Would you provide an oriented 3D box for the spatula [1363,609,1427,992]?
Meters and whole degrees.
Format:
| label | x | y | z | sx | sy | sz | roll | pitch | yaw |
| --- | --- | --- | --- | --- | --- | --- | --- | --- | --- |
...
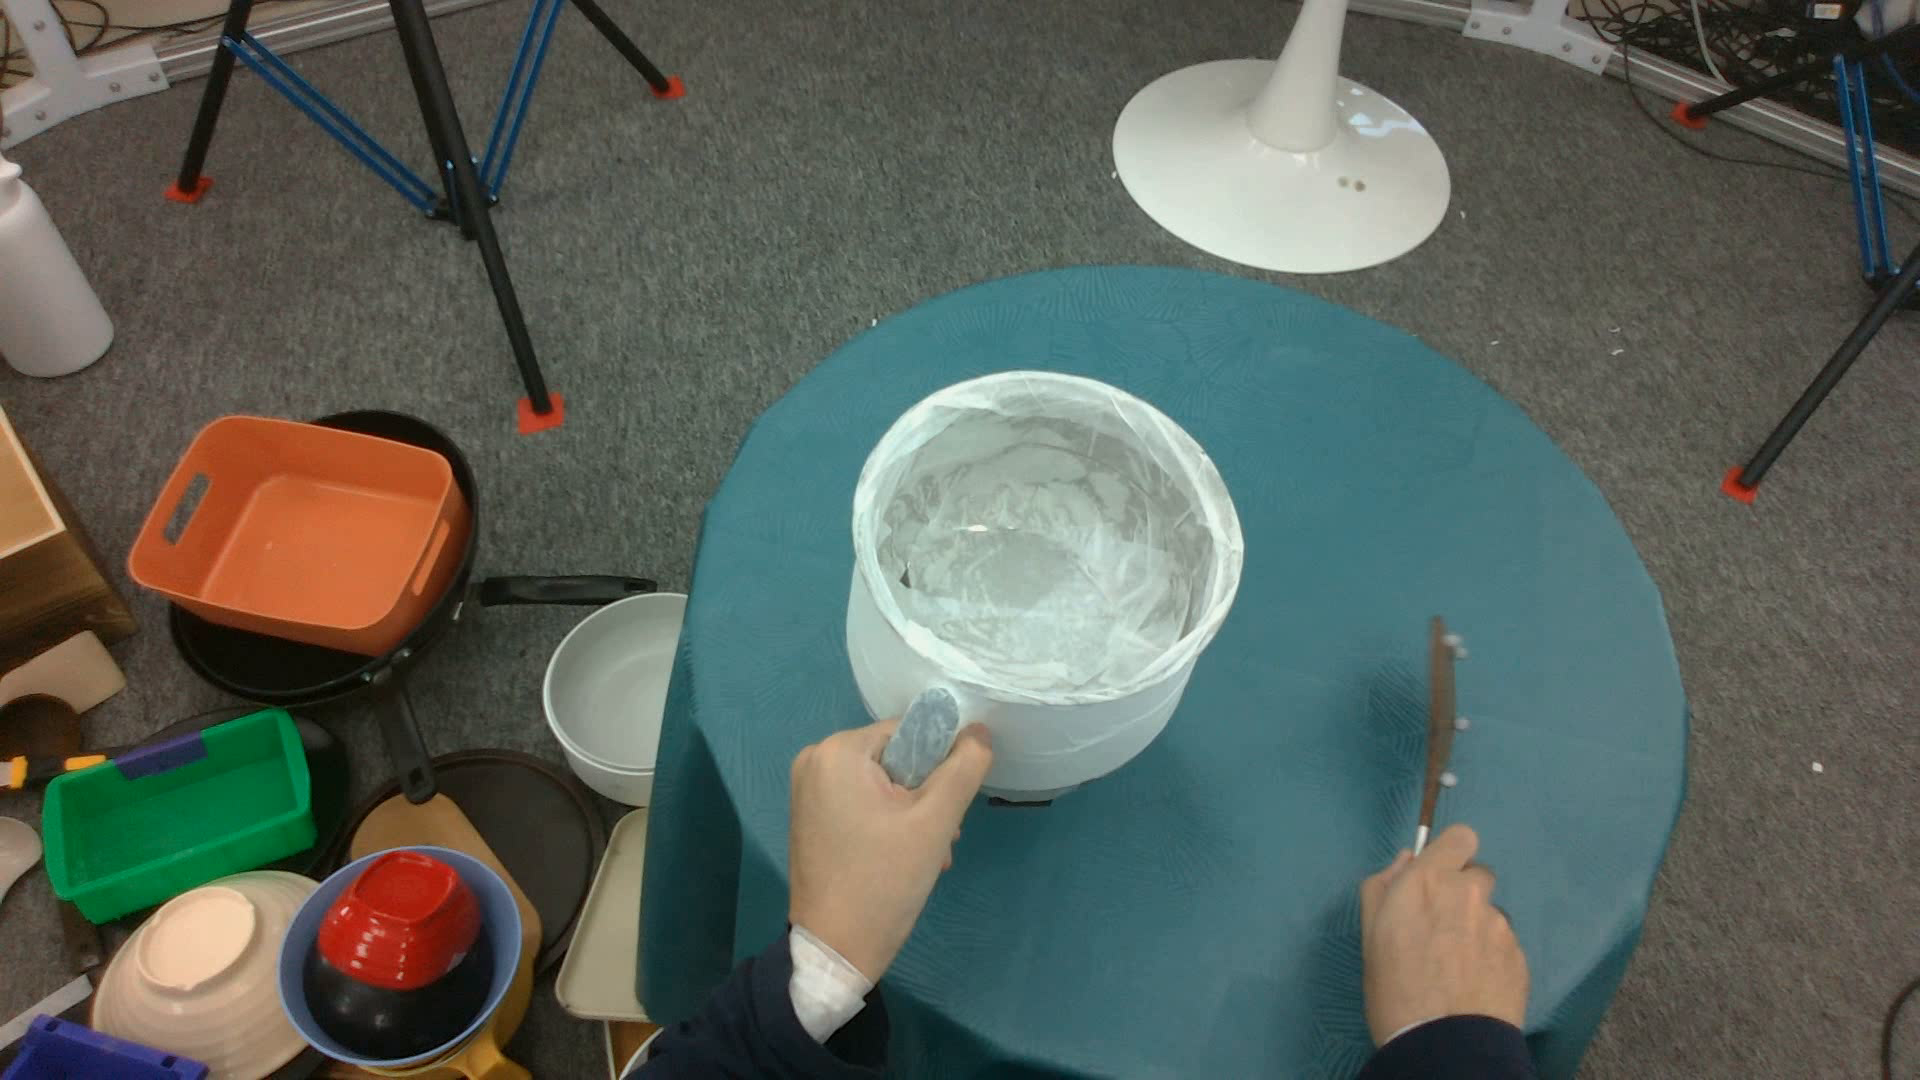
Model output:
| label | x | y | z | sx | sy | sz | roll | pitch | yaw |
| --- | --- | --- | --- | --- | --- | --- | --- | --- | --- |
| spatula | 0.231 | 0.132 | 0.731 | 0.009 | 0.072 | 0.216 | 2 | 57 | 29 |

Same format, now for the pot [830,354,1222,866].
| label | x | y | z | sx | sy | sz | roll | pitch | yaw |
| --- | --- | --- | --- | --- | --- | --- | --- | --- | --- |
| pot | 0.013 | 0.039 | 0.656 | 0.178 | 0.136 | 0.235 | 24 | 57 | 11 |
